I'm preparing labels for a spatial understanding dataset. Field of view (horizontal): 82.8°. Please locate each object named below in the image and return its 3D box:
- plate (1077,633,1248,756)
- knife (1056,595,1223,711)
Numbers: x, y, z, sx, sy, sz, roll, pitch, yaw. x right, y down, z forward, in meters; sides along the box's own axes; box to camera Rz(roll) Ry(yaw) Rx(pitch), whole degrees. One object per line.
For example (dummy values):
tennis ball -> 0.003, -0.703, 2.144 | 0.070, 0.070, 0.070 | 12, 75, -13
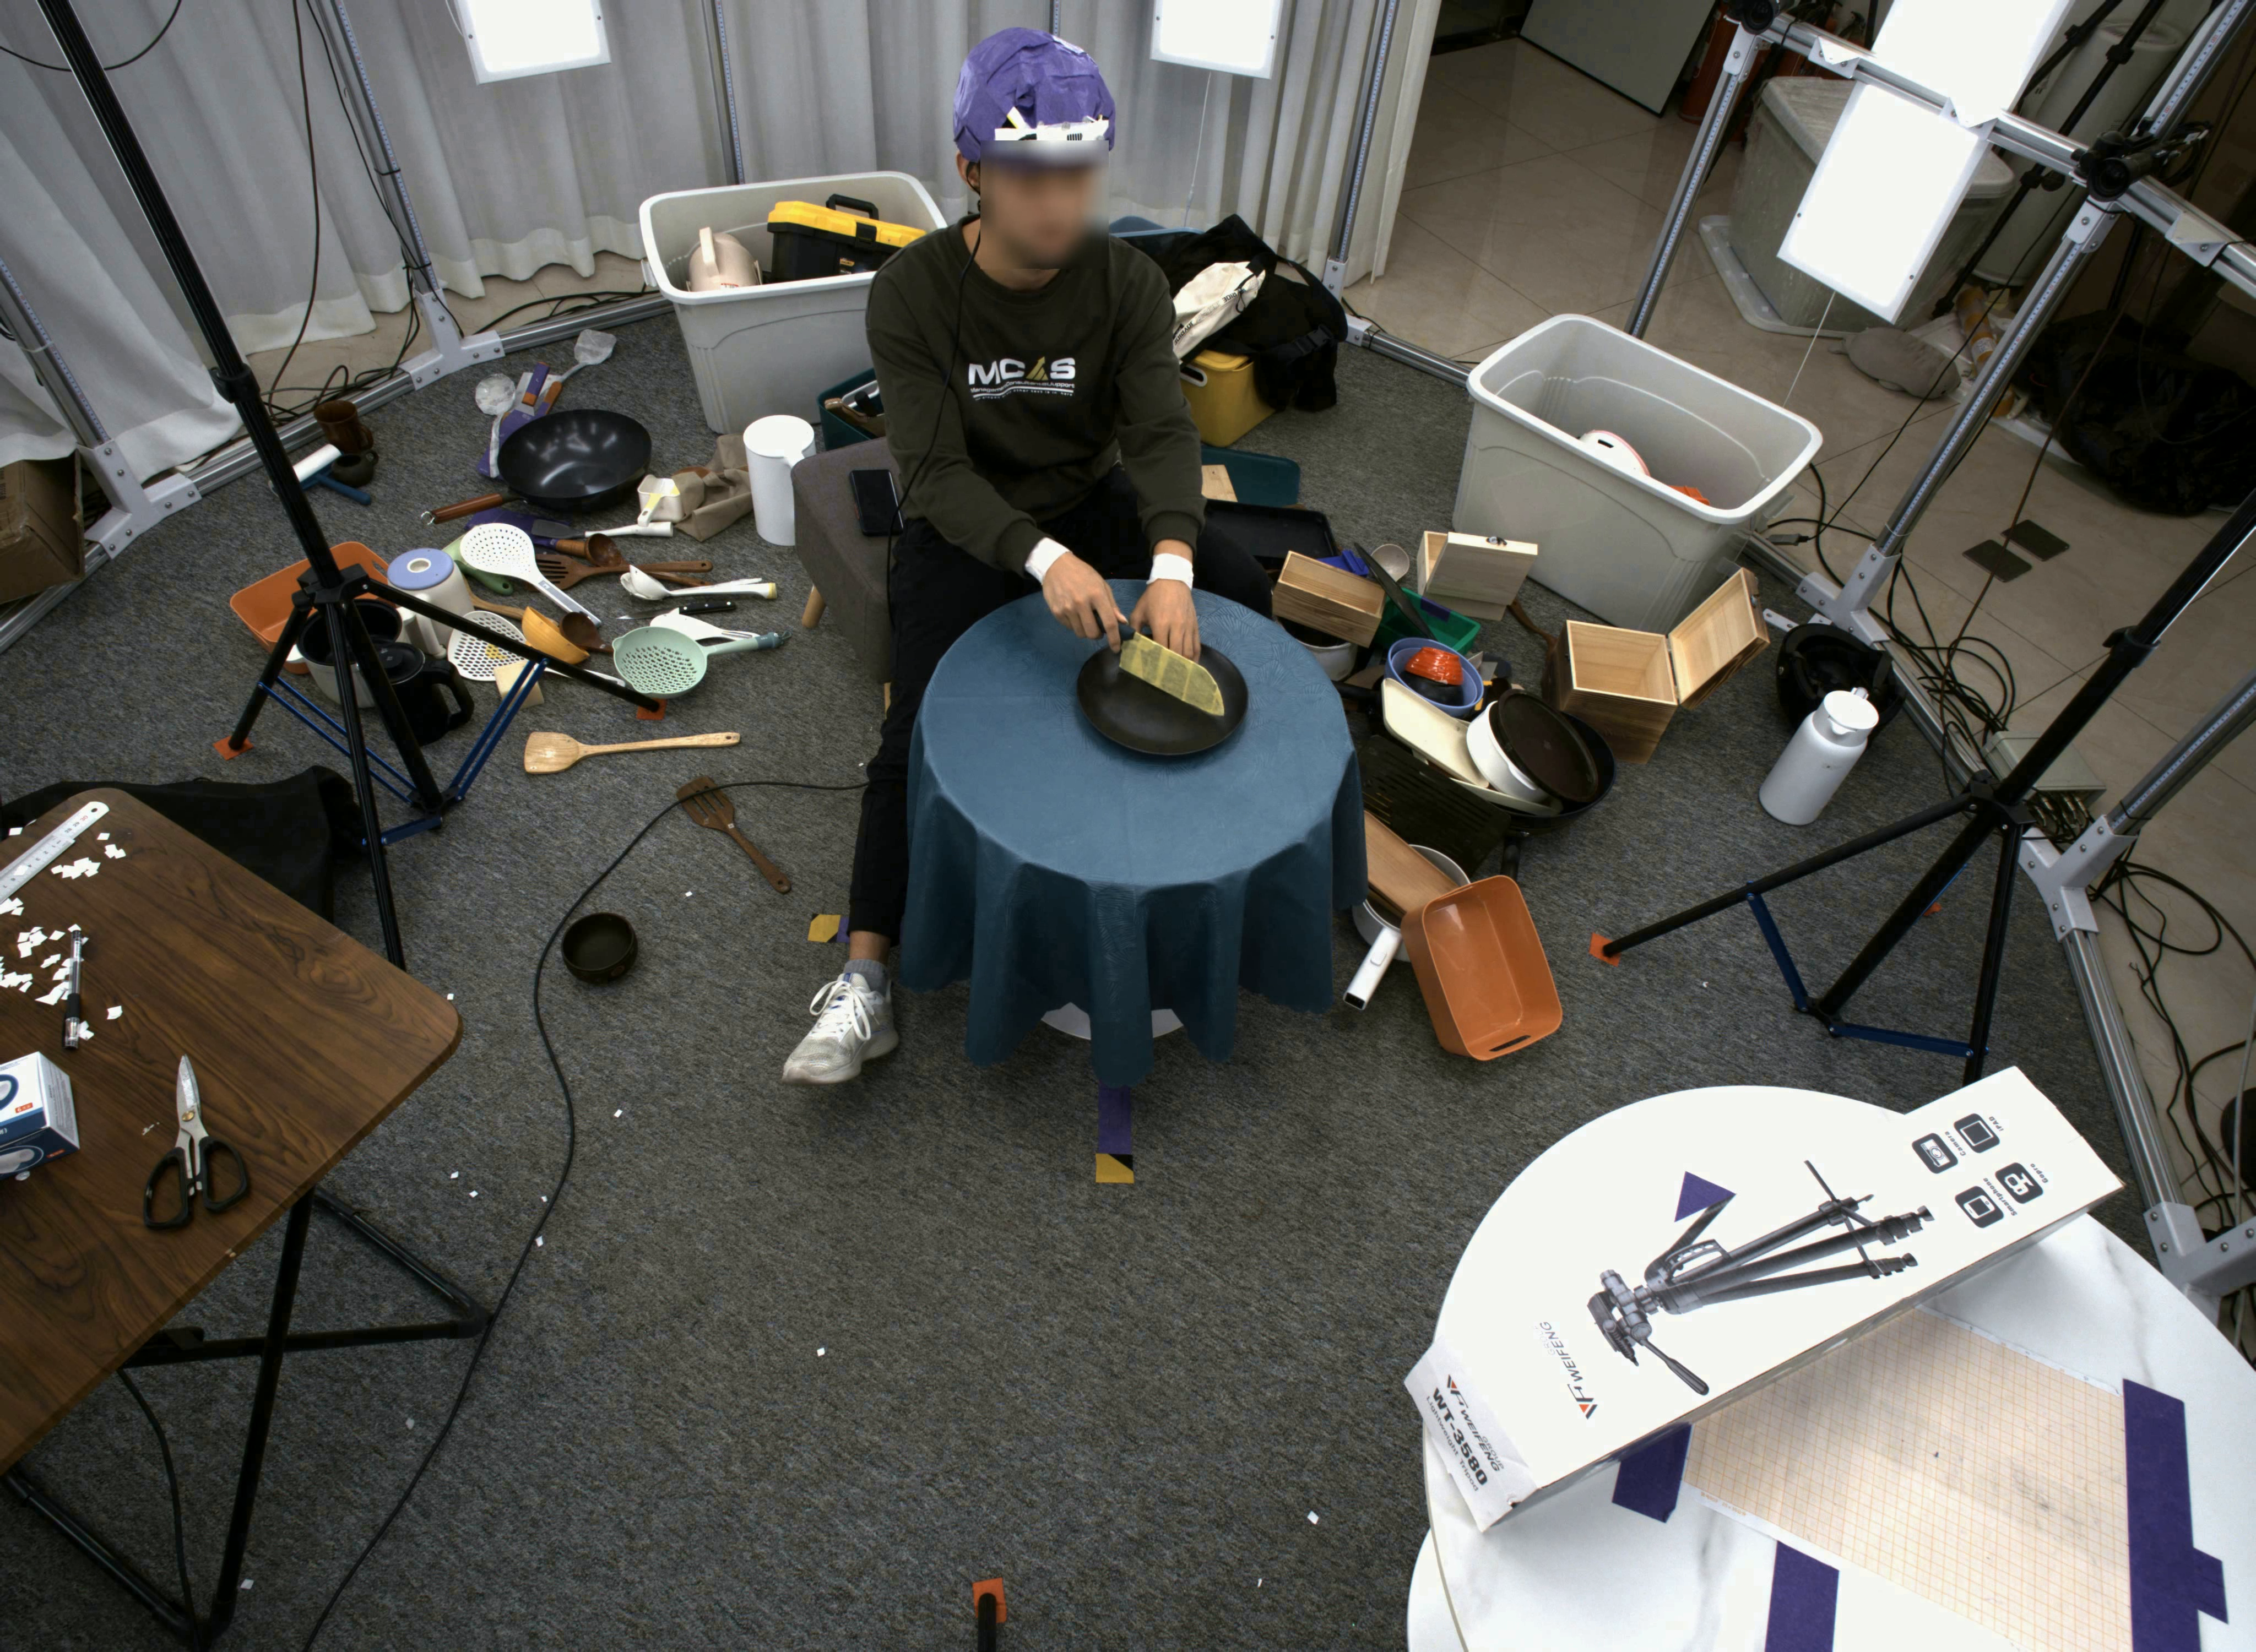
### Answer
plate -> 0.048, -0.184, 1.815 | 0.244, 0.023, 0.250 | 2, 49, -3
knife -> 0.015, -0.244, 1.814 | 0.292, 0.079, 0.027 | 33, 47, 17
